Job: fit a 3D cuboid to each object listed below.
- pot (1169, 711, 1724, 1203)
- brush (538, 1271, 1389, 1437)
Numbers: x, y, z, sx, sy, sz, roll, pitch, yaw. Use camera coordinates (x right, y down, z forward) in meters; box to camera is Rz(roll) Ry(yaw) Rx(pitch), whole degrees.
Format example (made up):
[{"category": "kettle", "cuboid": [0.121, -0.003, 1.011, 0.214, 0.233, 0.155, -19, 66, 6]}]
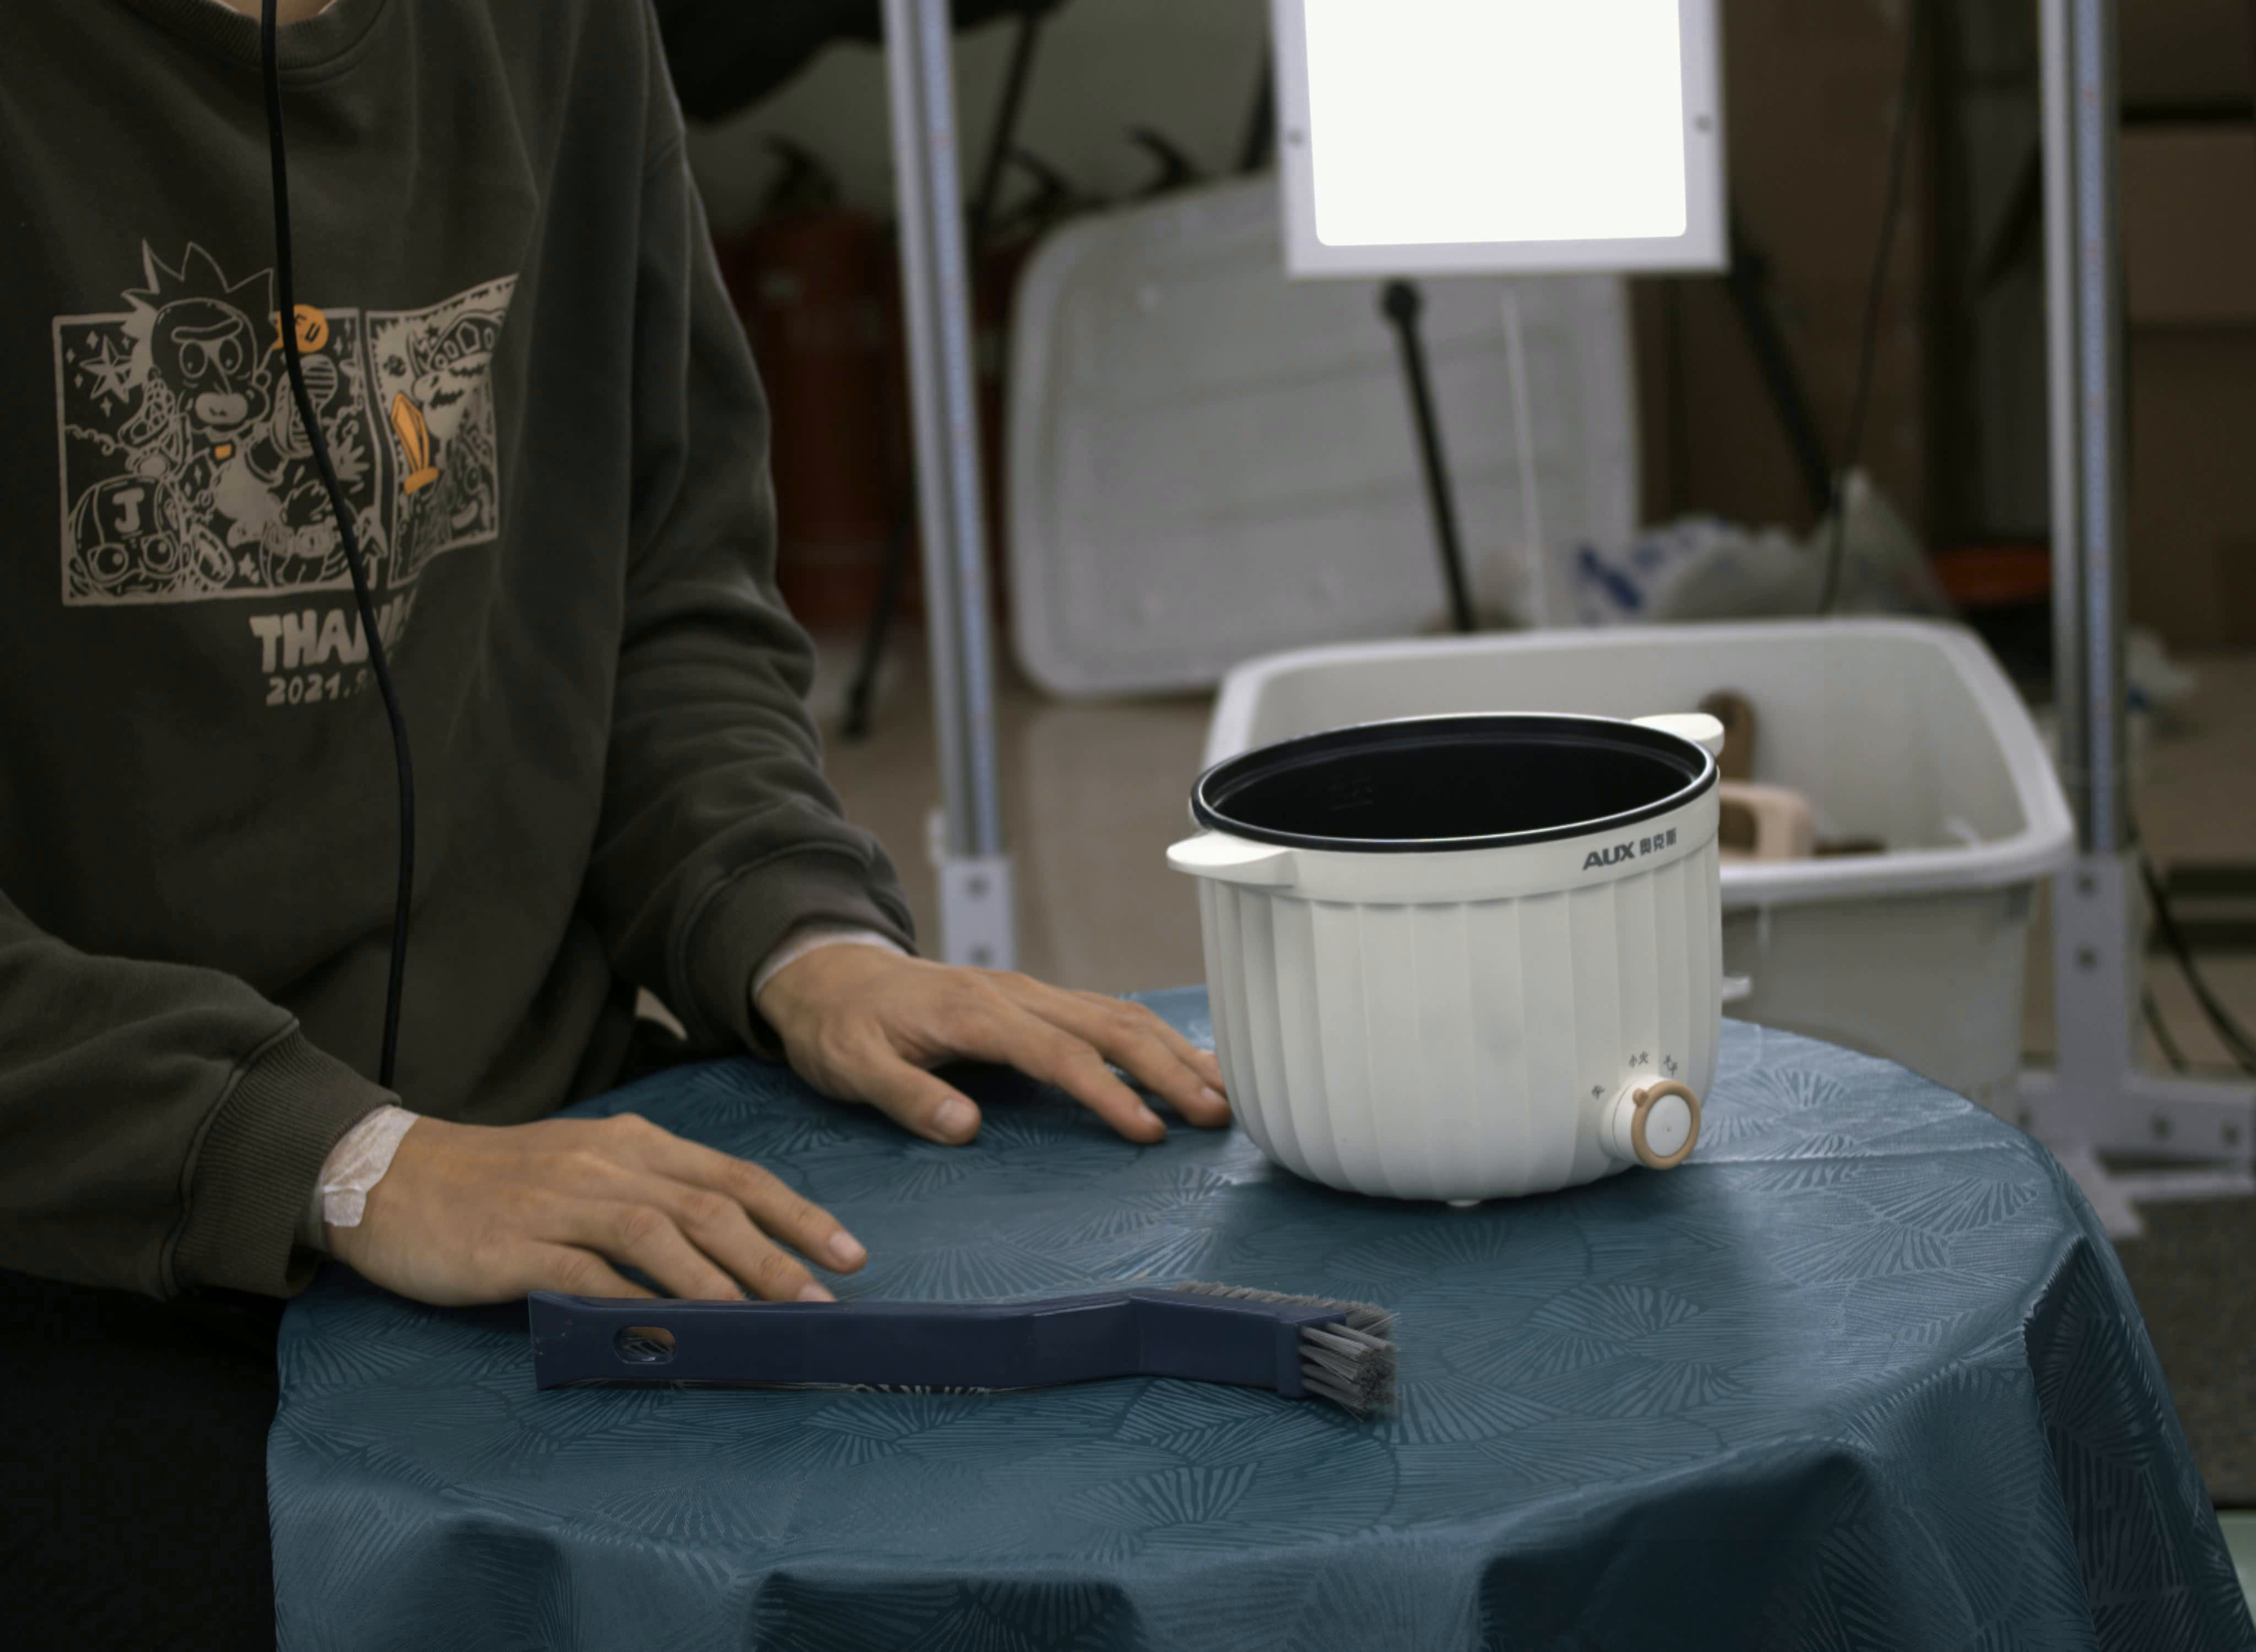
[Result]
[{"category": "pot", "cuboid": [0.121, 0.046, 1.887, 0.234, 0.143, 0.194, -16, 15, -34]}, {"category": "brush", "cuboid": [-0.055, 0.162, 1.709, 0.274, 0.033, 0.095, -2, 15, 9]}]
